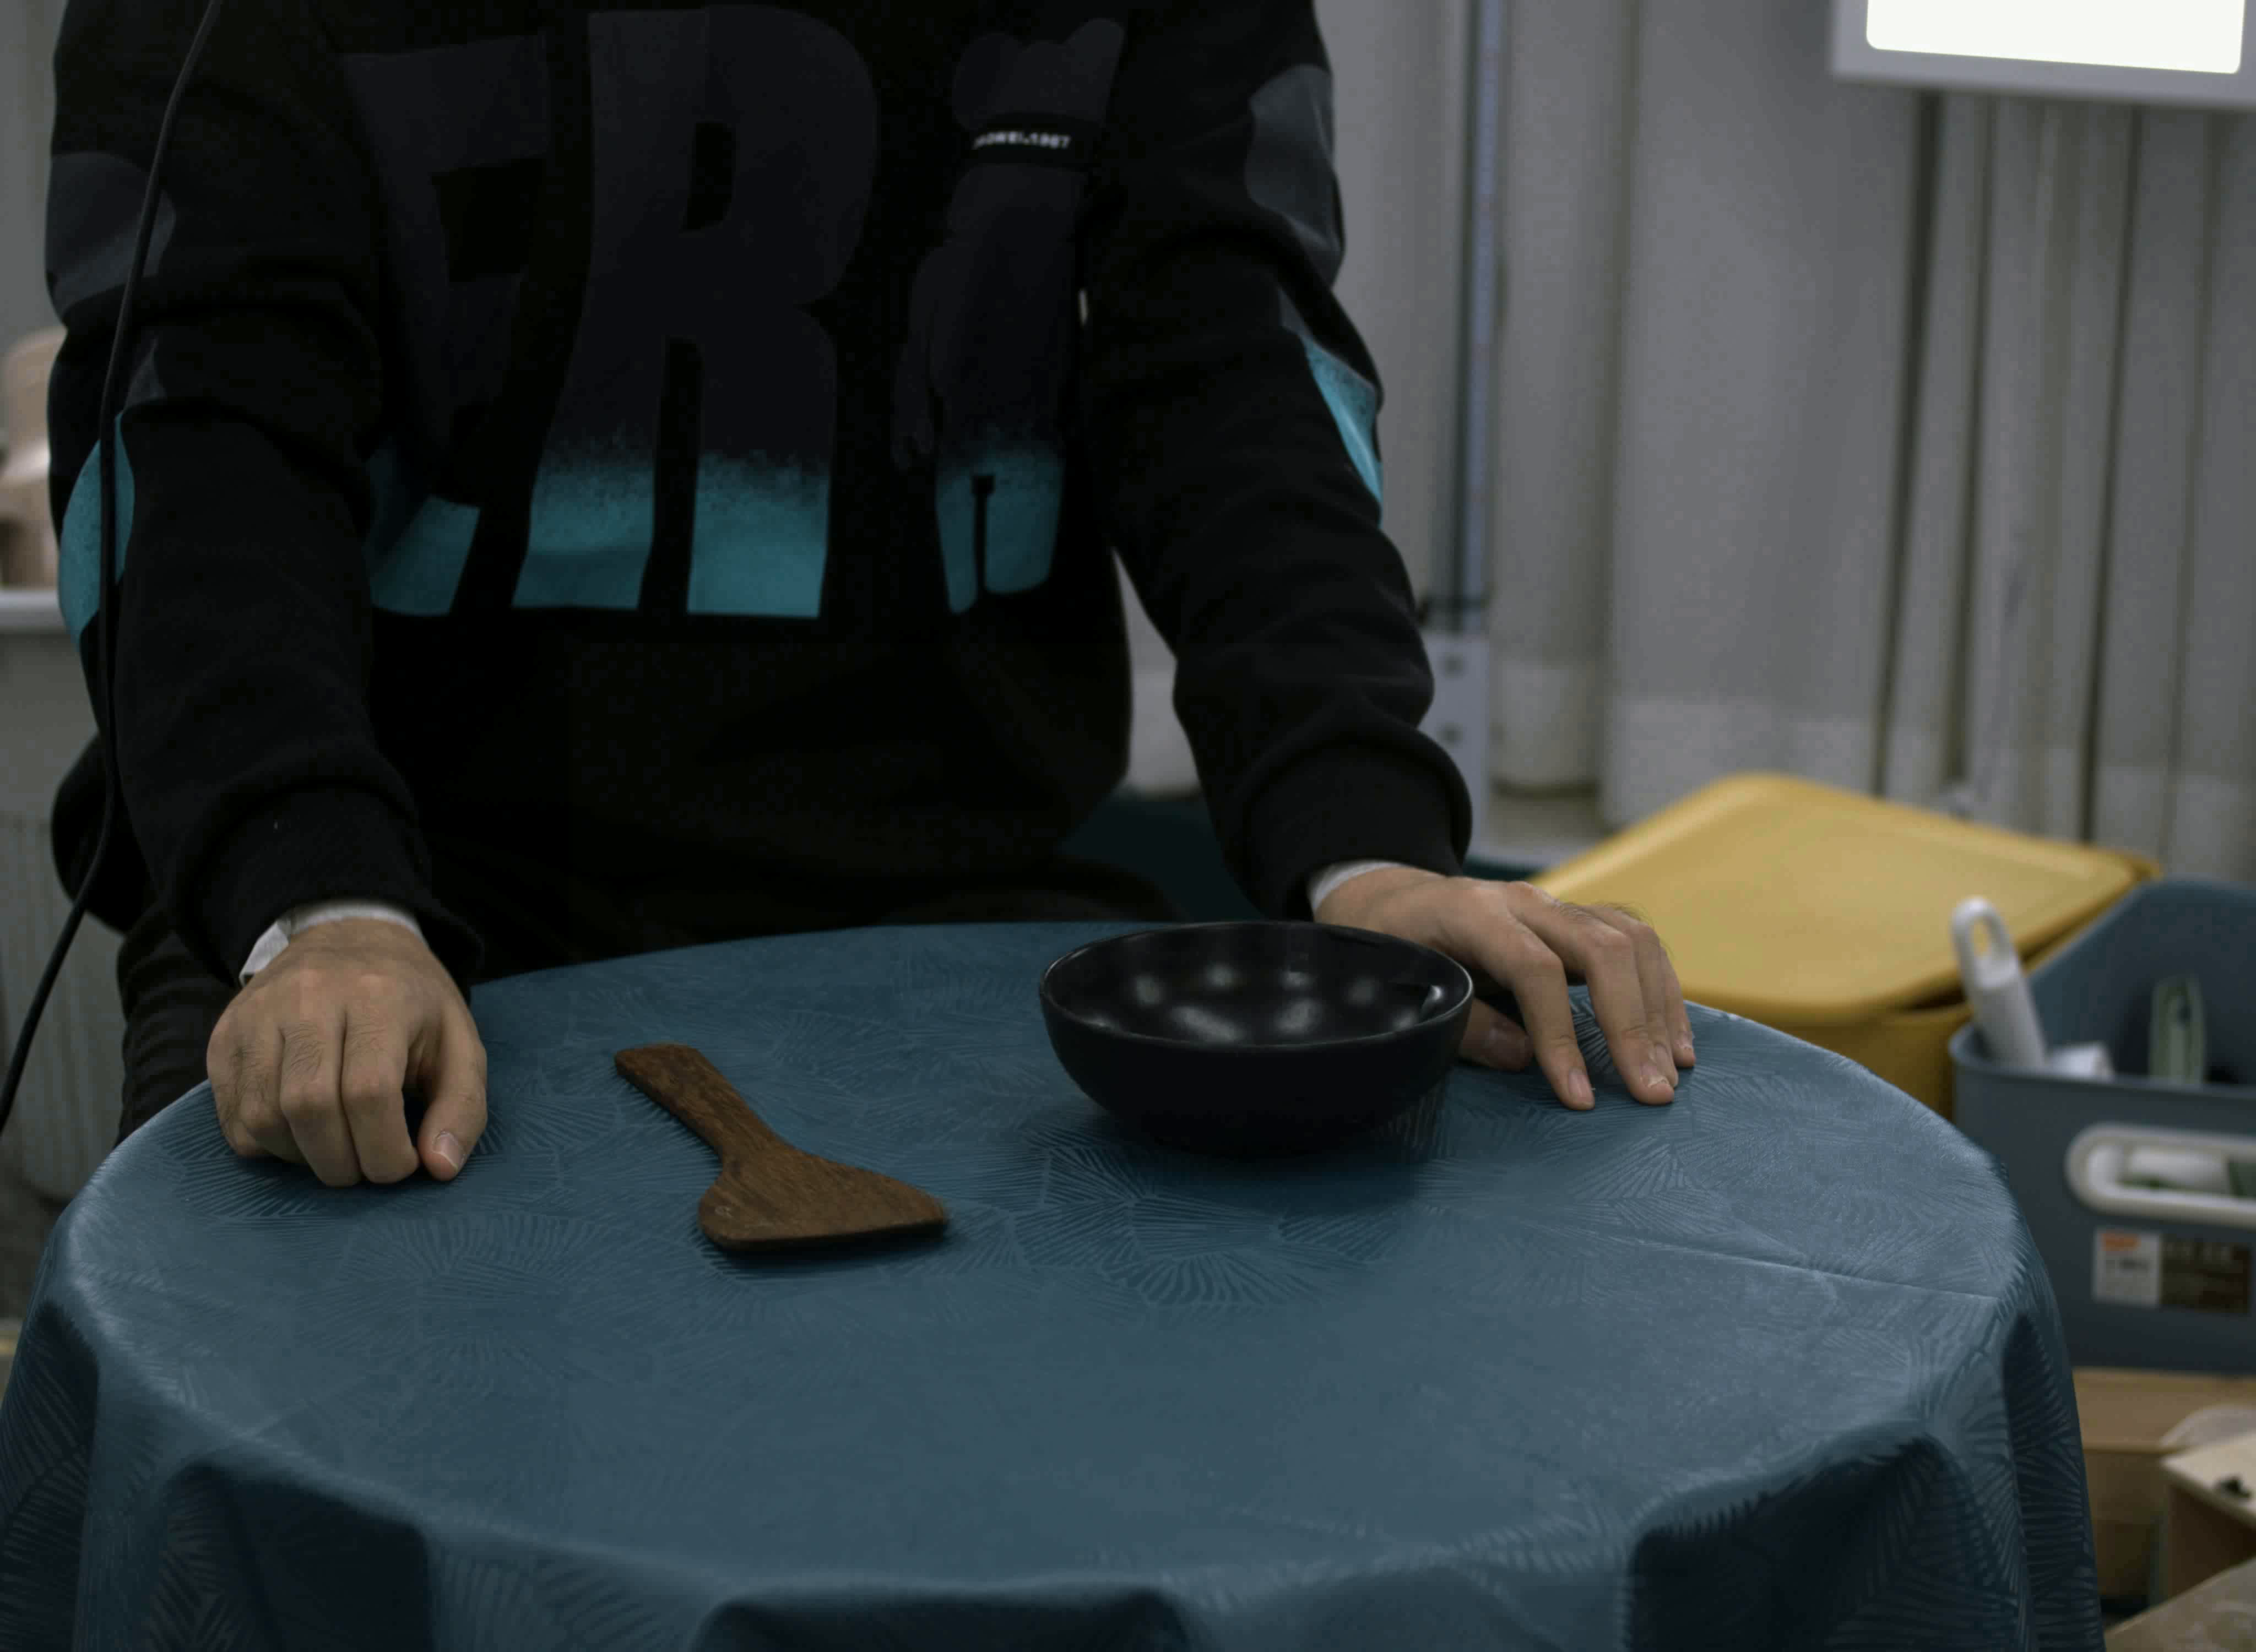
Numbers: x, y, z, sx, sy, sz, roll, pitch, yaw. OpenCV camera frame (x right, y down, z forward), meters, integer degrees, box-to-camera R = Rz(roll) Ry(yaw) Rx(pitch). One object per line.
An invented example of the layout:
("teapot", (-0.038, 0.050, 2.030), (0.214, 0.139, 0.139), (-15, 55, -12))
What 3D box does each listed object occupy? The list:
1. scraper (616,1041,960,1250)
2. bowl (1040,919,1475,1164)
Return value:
("scraper", (-0.120, 0.099, 1.654), (0.076, 0.011, 0.209), (-4, 16, -22))
("bowl", (0.042, 0.073, 1.680), (0.139, 0.050, 0.139), (-2, 16, 1))
